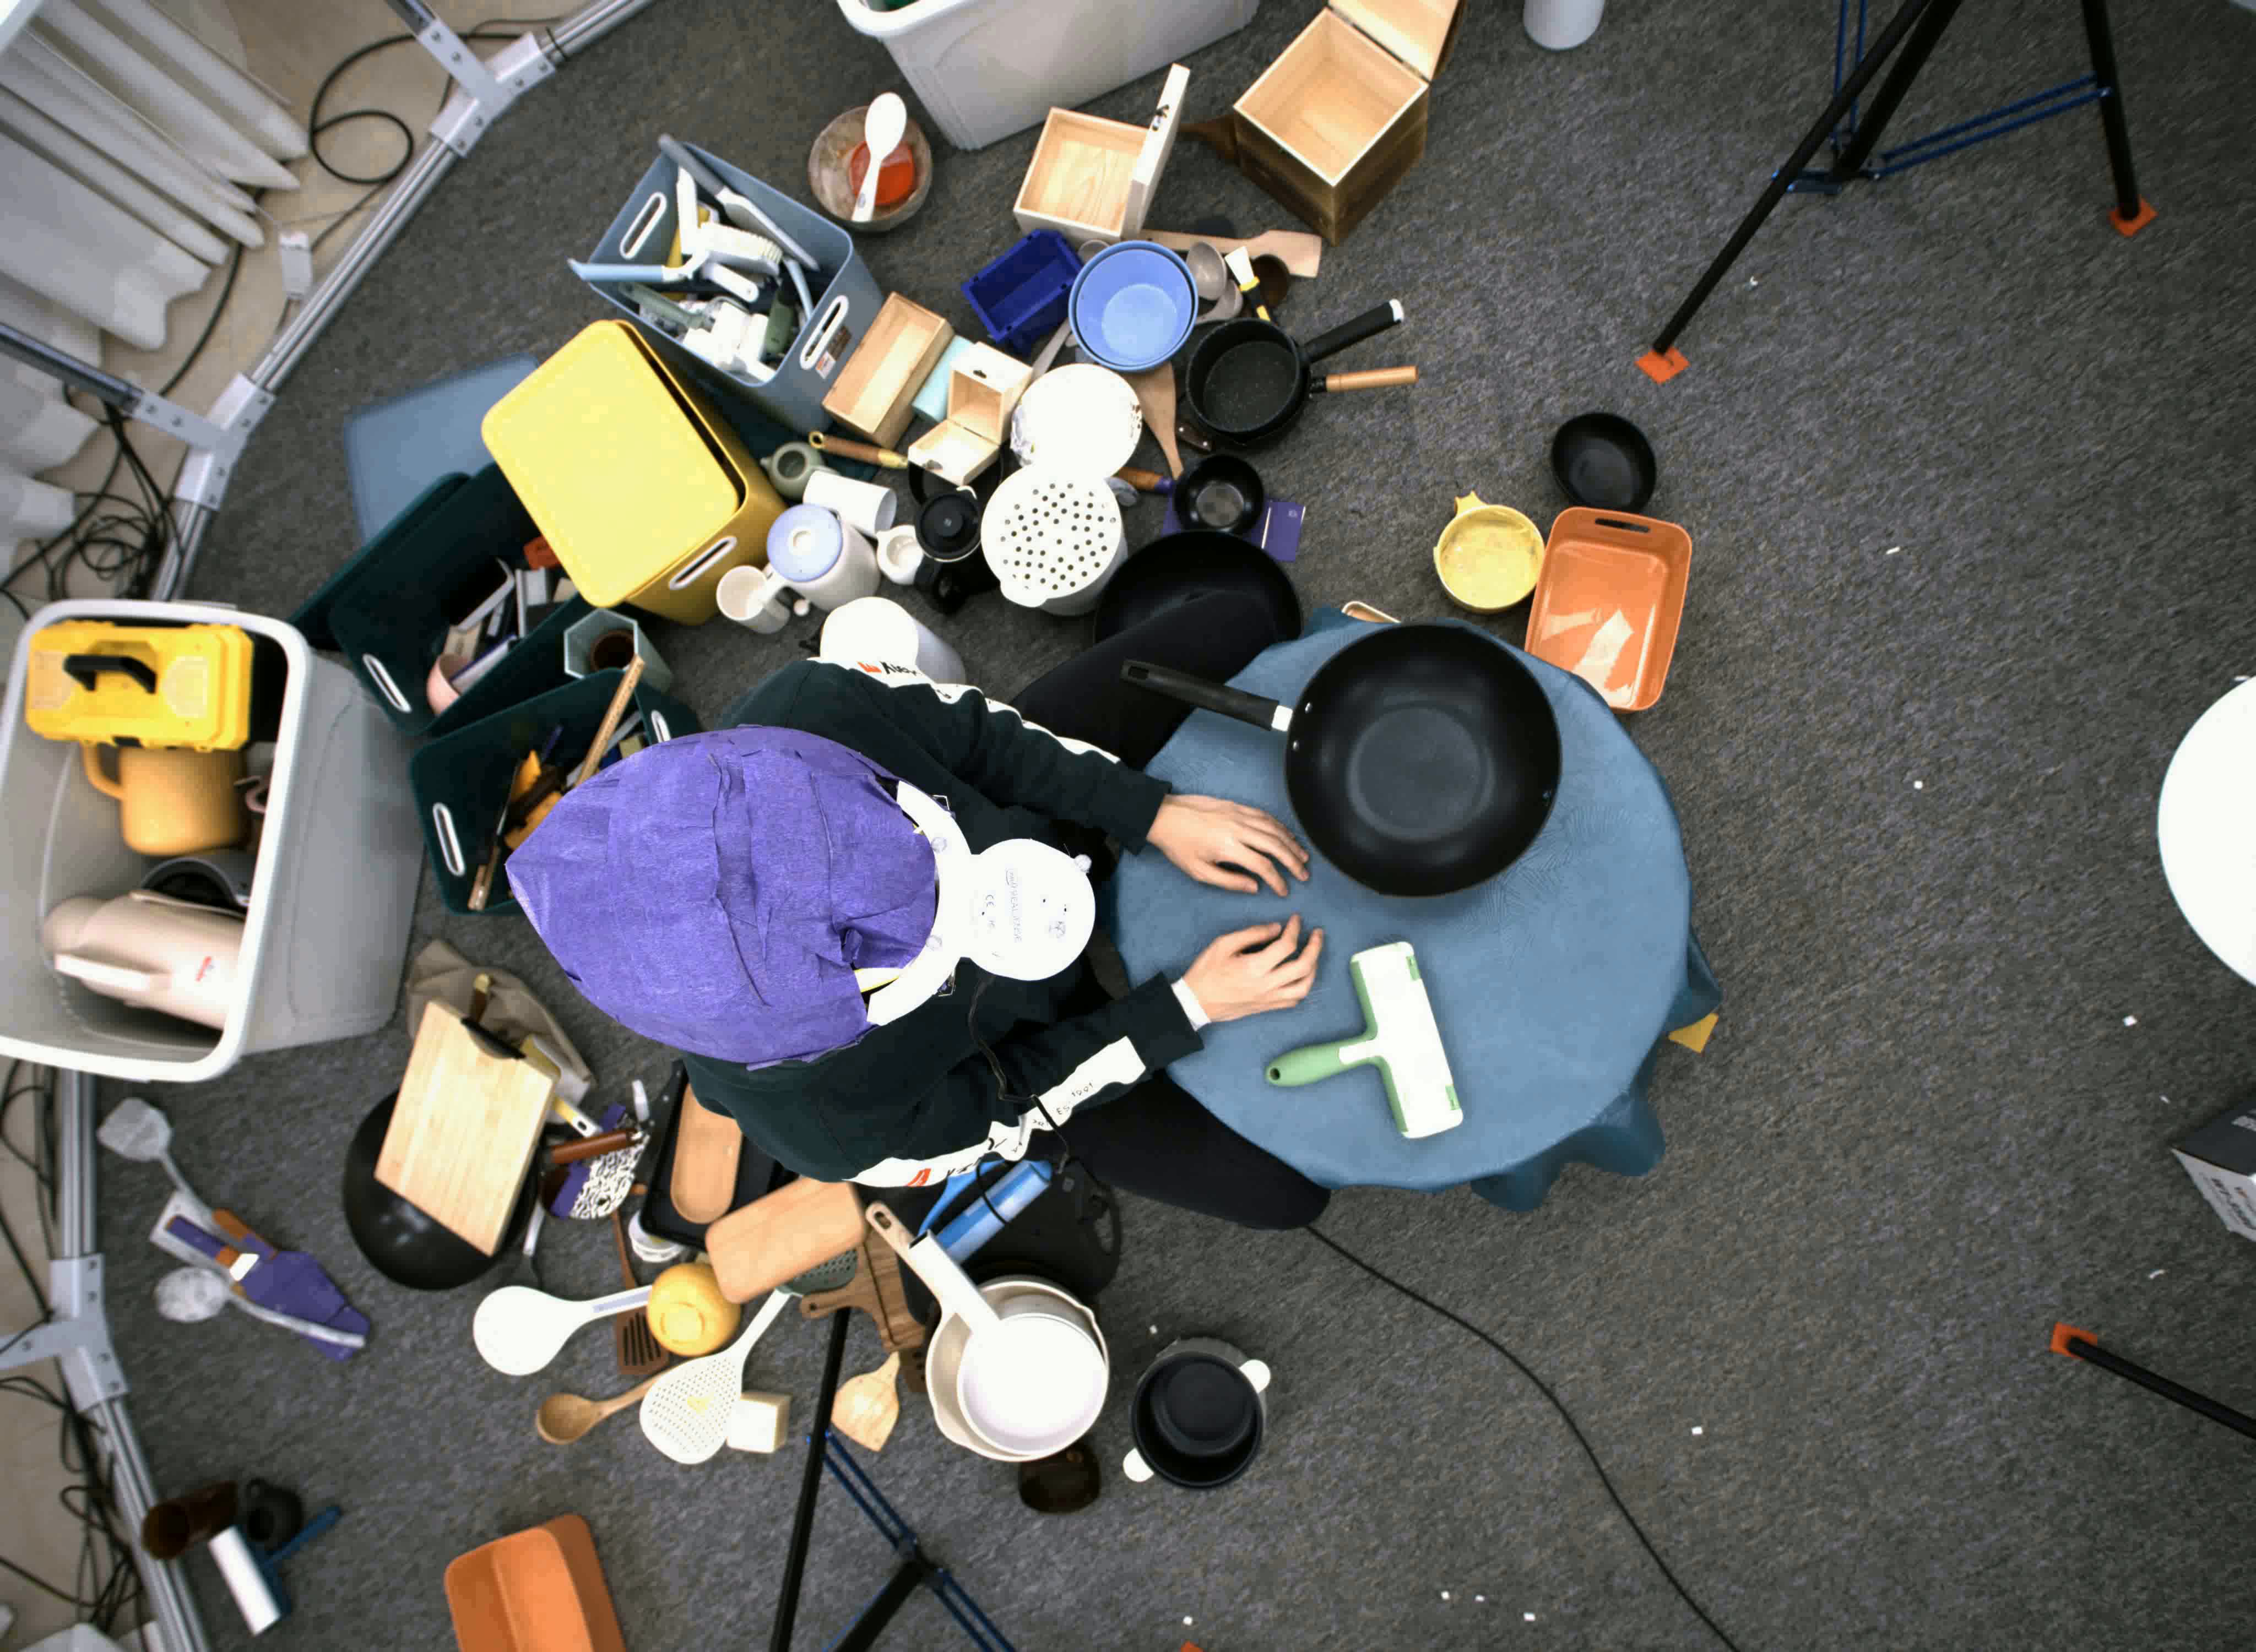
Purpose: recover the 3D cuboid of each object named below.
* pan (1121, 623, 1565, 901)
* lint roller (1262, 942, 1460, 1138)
[{"bbox_3d":[0.215,-0.090,1.431,0.463,0.087,0.288,17,90,12],"label":"pan"},{"bbox_3d":[0.227,0.232,1.417,0.184,0.082,0.197,-16,85,4],"label":"lint roller"}]
